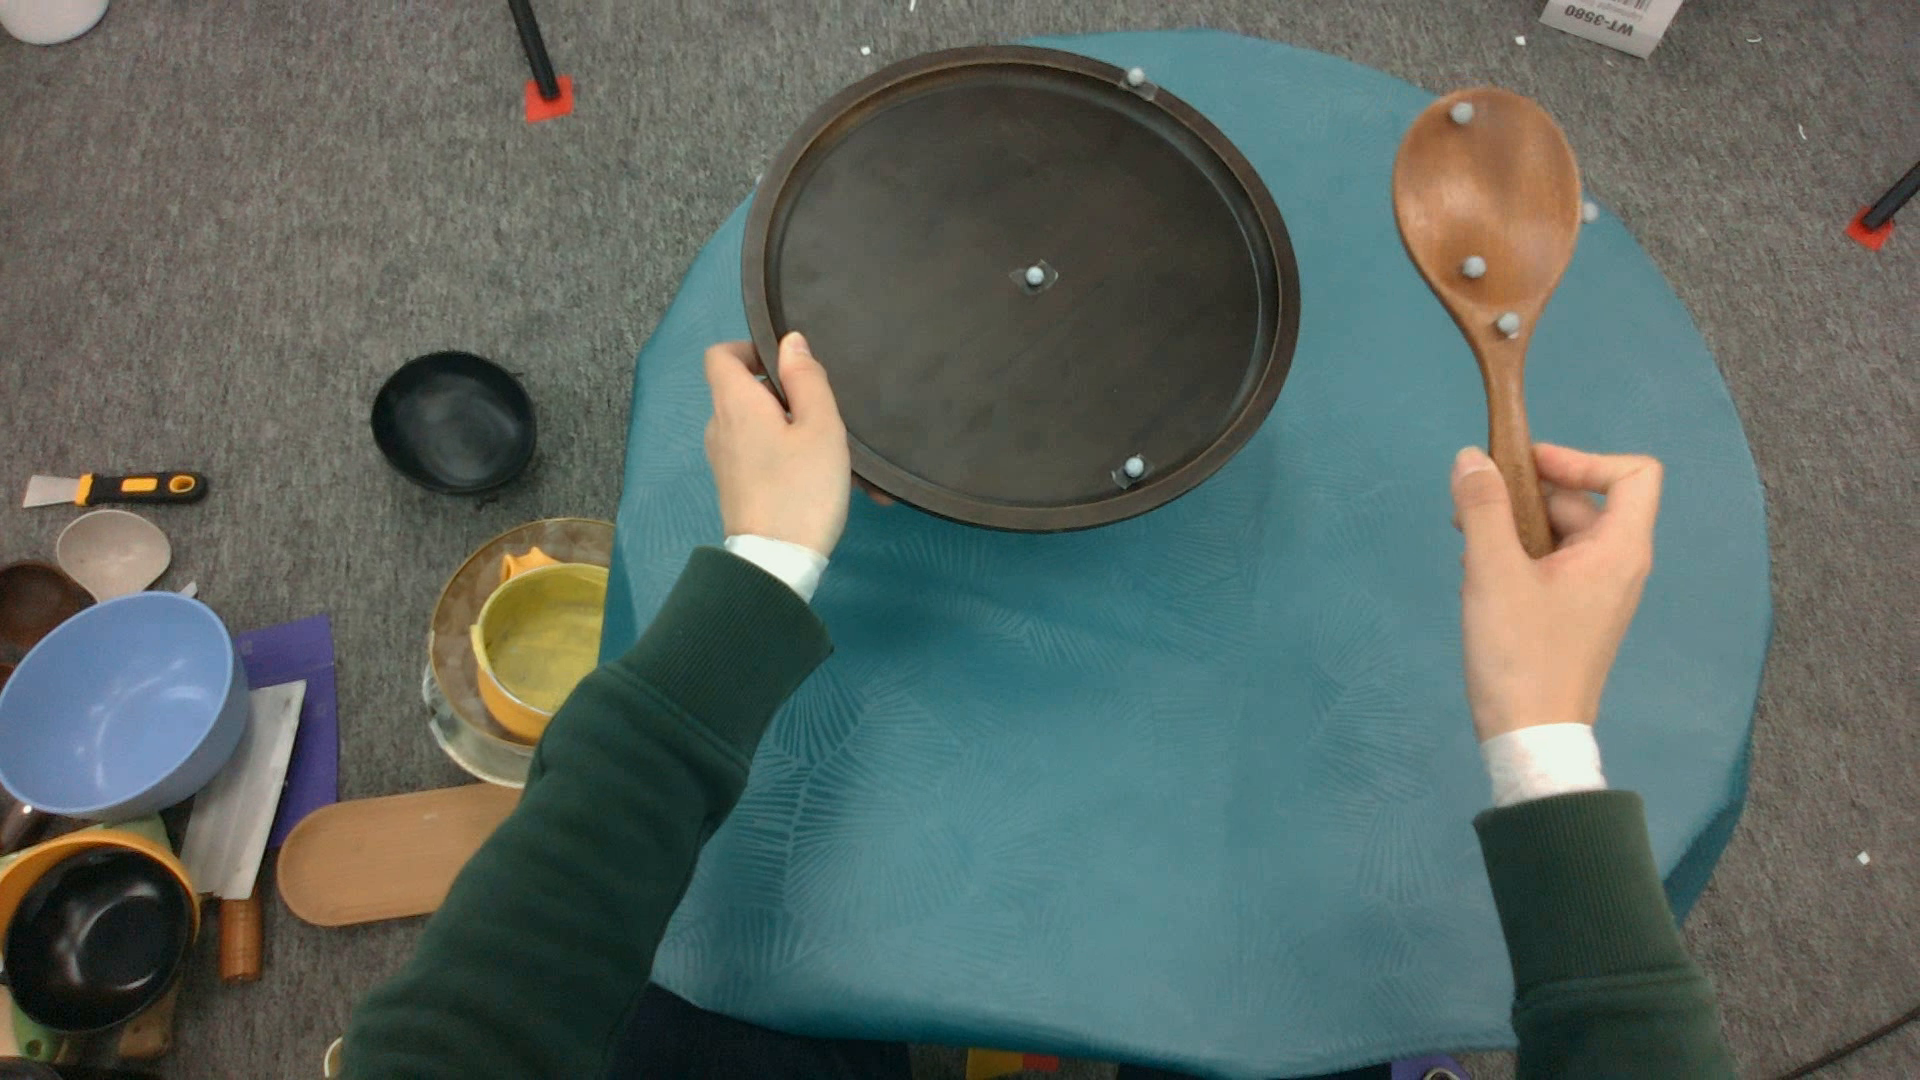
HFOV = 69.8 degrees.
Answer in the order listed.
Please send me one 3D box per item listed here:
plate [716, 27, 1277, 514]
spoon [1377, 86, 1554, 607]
[{"bbox_3d":[0.017,-0.127,0.626,0.255,0.029,0.255,2,67,-5],"label":"plate"},{"bbox_3d":[0.208,-0.080,0.554,0.075,0.017,0.216,-1,80,-5],"label":"spoon"}]
